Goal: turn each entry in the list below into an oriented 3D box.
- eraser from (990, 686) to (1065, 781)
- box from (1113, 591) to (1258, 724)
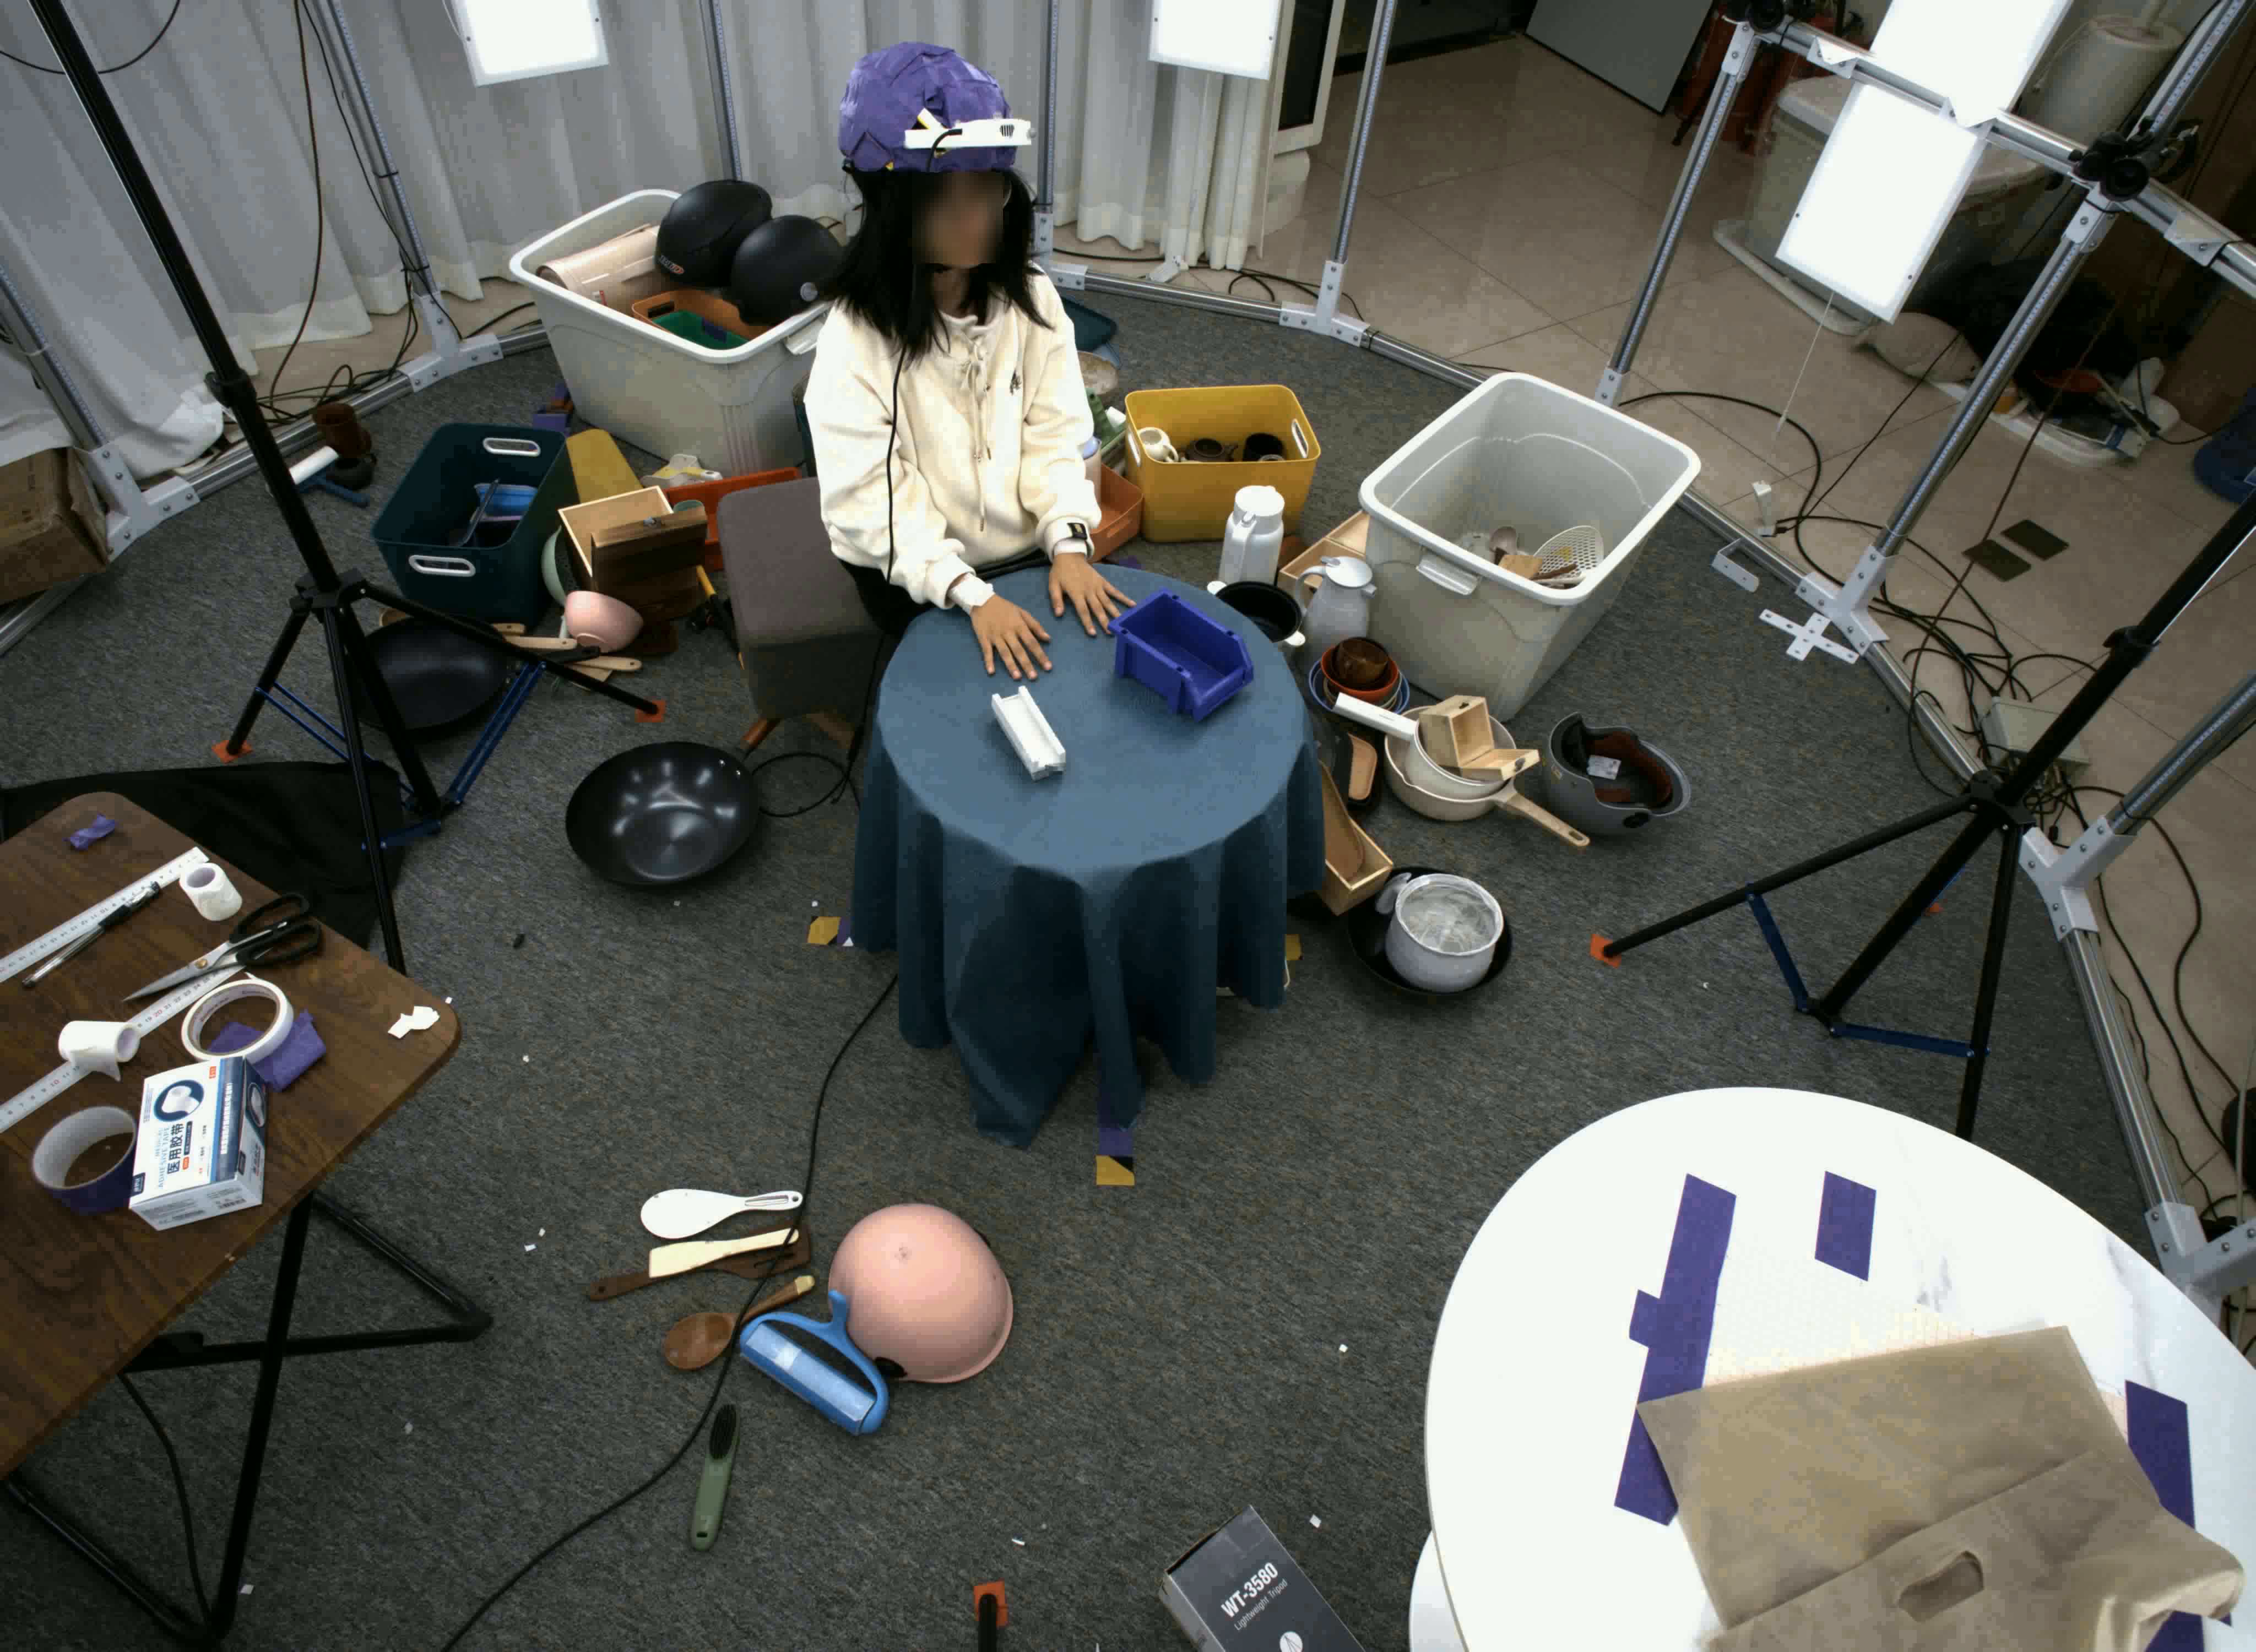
[{"bbox_3d":[-0.137,-0.126,1.739,0.050,0.045,0.137,-22,56,-19],"label":"eraser"},{"bbox_3d":[0.083,-0.238,1.829,0.125,0.080,0.182,-35,58,-29],"label":"box"}]
